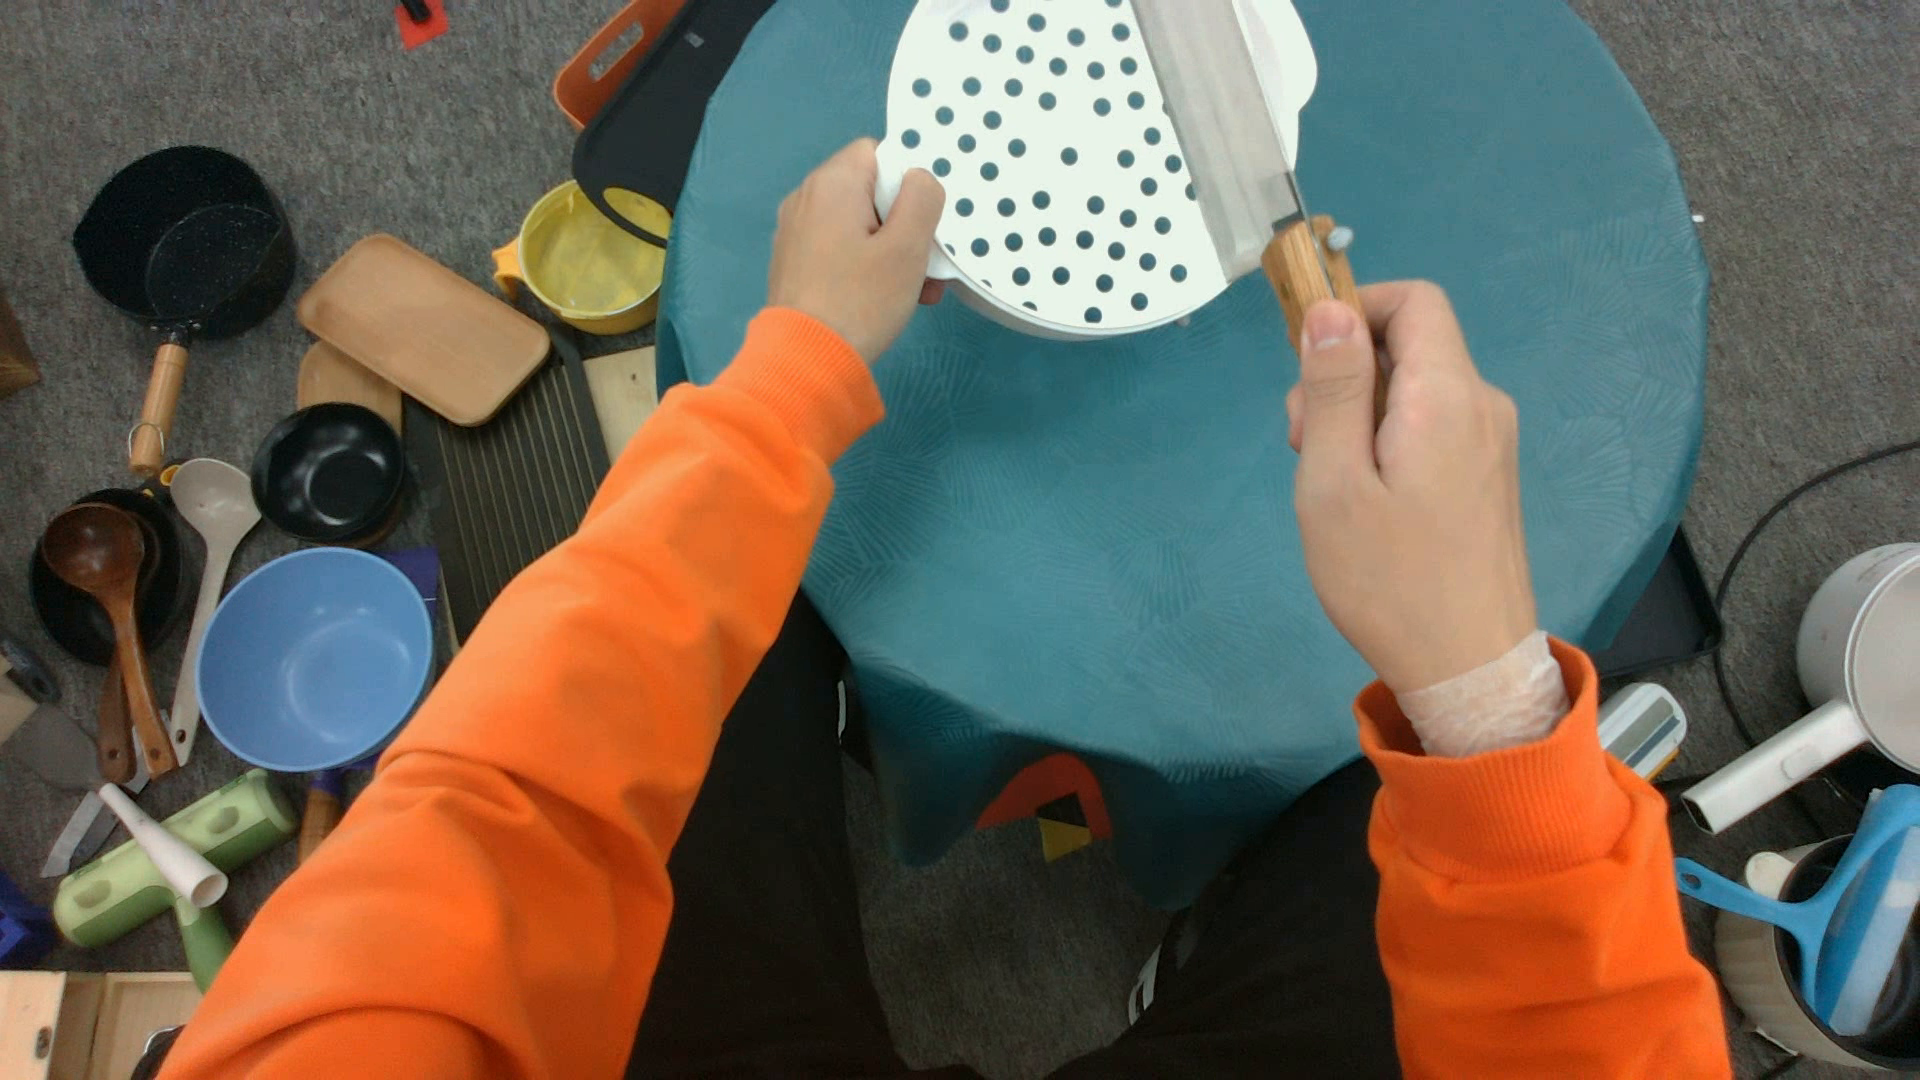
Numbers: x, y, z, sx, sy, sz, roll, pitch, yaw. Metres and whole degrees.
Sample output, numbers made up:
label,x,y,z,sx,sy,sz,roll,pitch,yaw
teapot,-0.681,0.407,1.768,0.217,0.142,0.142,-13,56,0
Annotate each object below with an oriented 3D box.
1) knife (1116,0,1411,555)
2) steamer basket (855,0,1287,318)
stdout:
label,x,y,z,sx,sy,sz,roll,pitch,yaw
knife,0.090,-0.140,0.490,0.021,0.093,0.305,-21,95,-7
steamer basket,0.053,-0.214,0.697,0.231,0.069,0.202,-29,93,-11
